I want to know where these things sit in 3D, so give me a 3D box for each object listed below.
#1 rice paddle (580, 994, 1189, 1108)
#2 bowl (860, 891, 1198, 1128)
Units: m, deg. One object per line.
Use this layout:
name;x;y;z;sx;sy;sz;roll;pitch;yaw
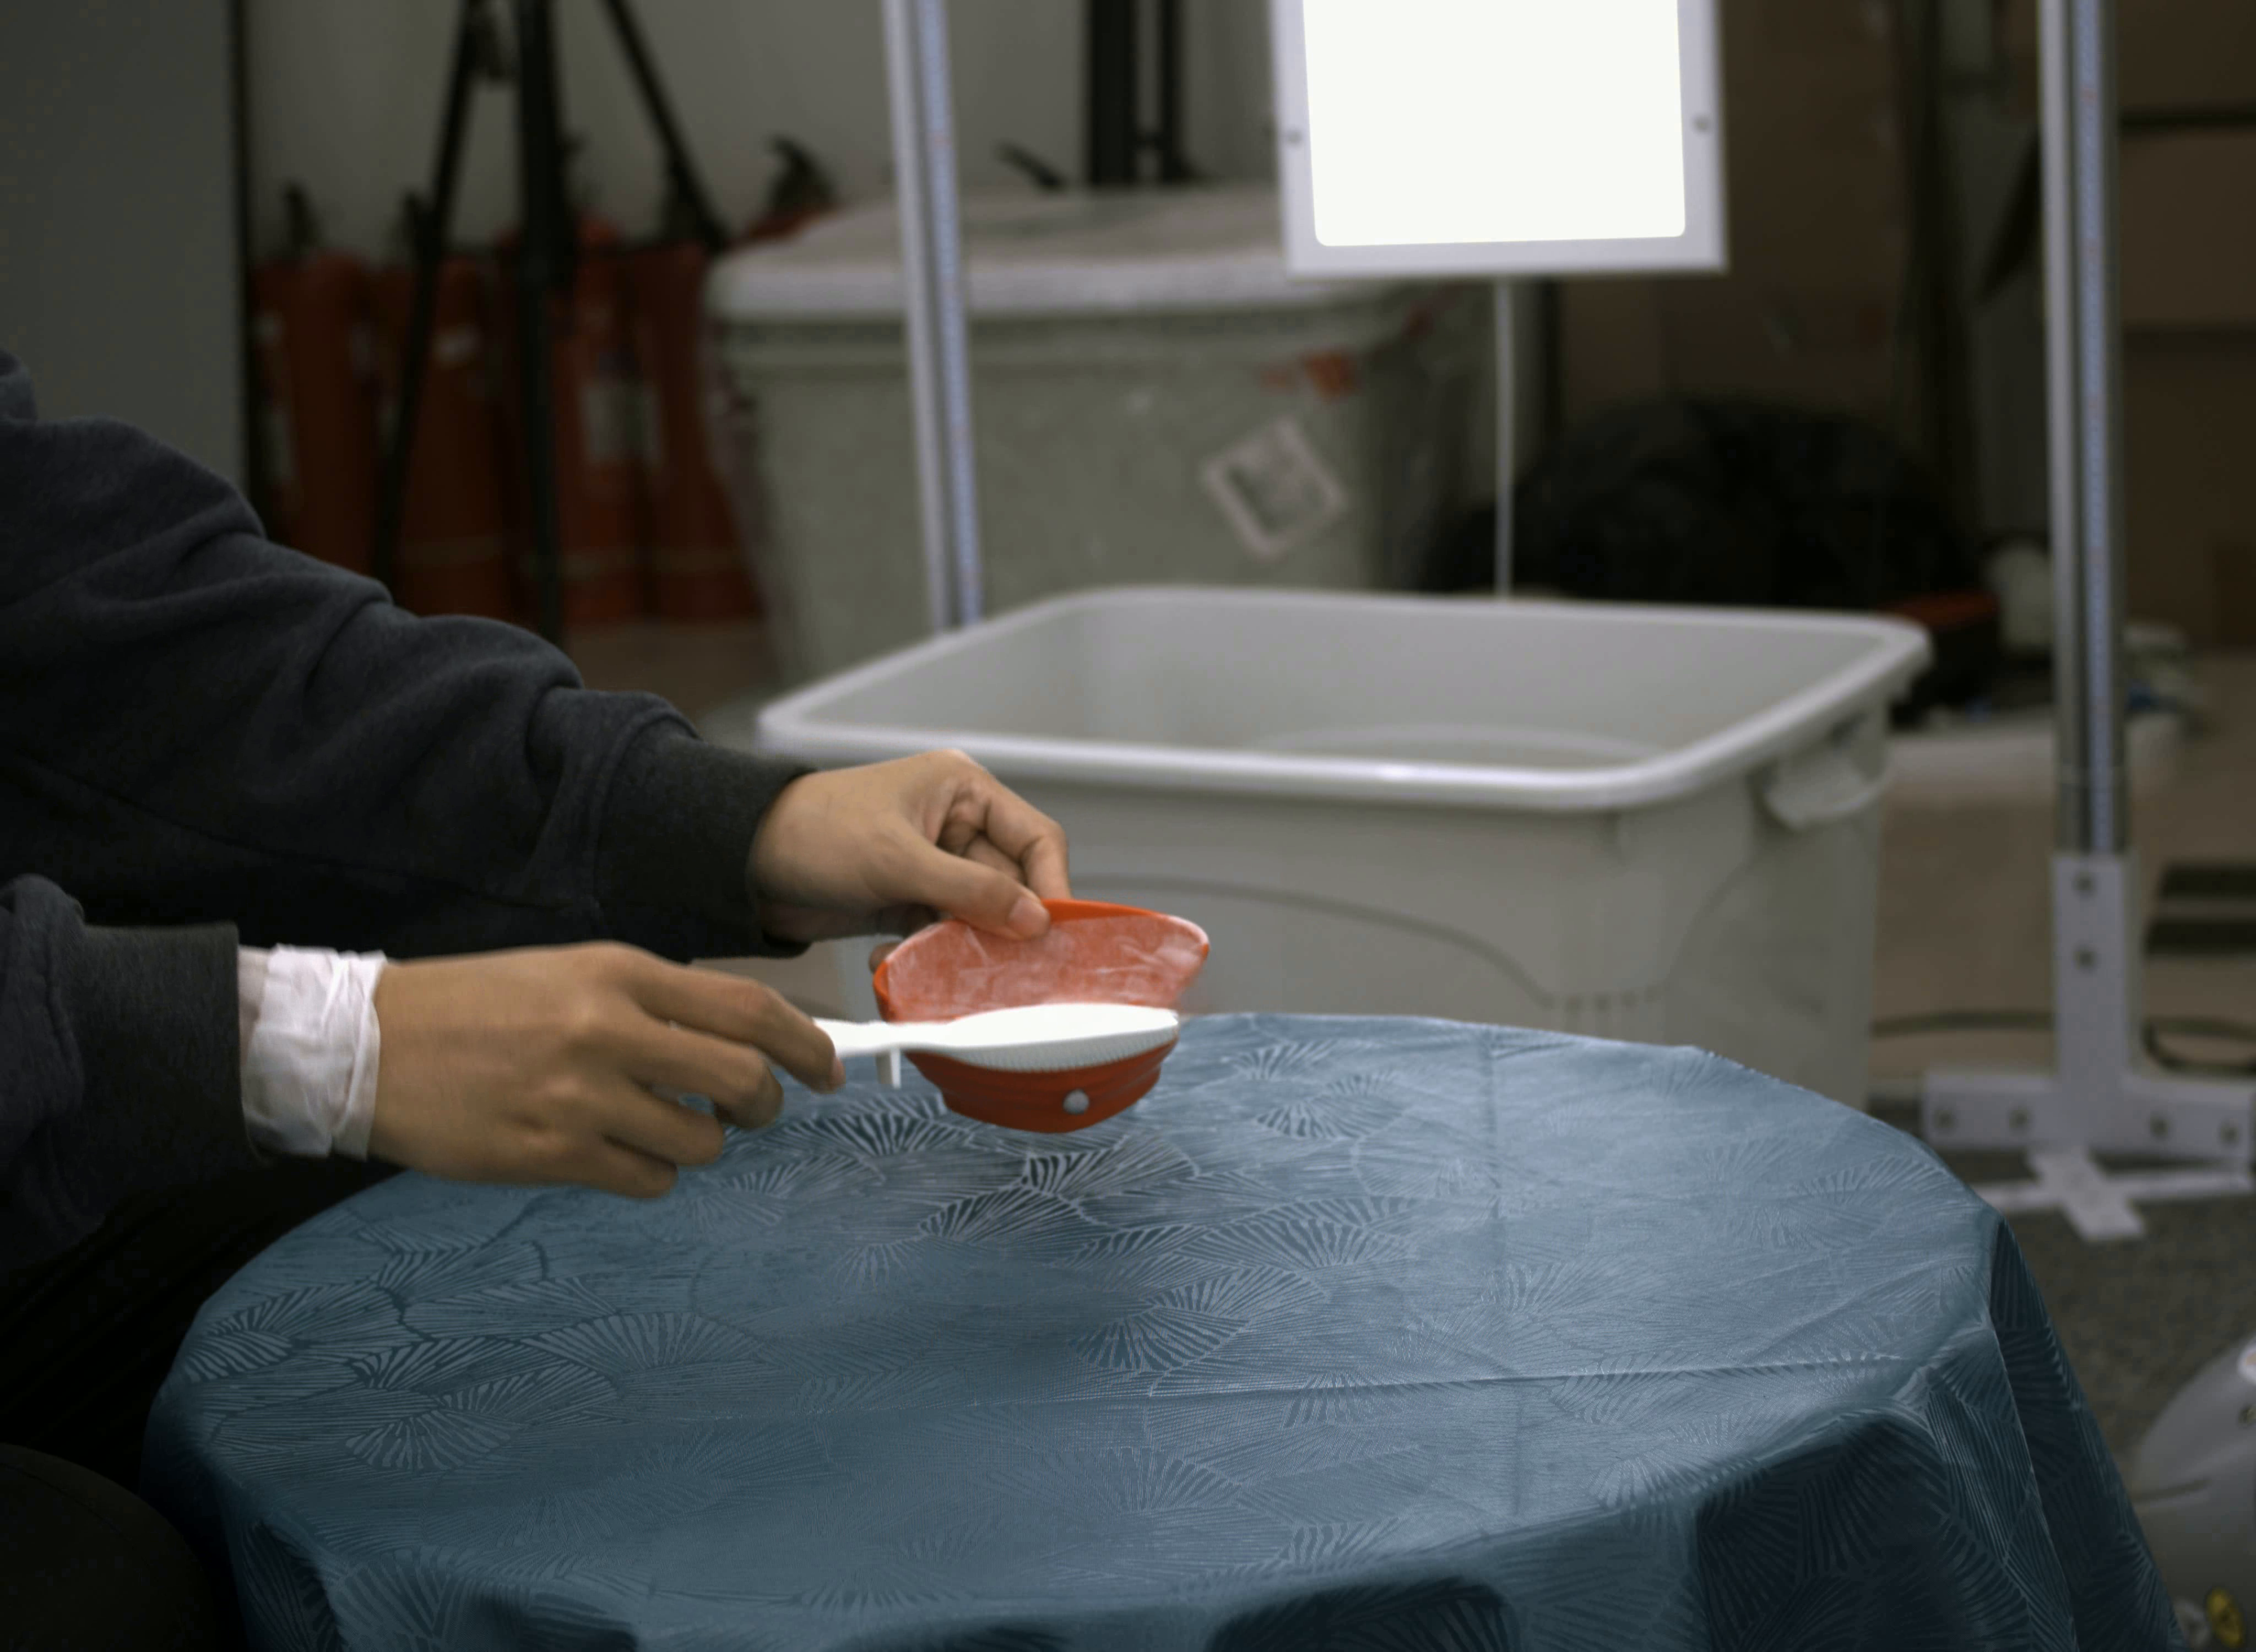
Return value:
rice paddle;-0.073;0.064;1.739;0.201;0.029;0.070;-5;8;-25
bowl;-0.032;0.067;1.911;0.119;0.051;0.118;-7;22;1
